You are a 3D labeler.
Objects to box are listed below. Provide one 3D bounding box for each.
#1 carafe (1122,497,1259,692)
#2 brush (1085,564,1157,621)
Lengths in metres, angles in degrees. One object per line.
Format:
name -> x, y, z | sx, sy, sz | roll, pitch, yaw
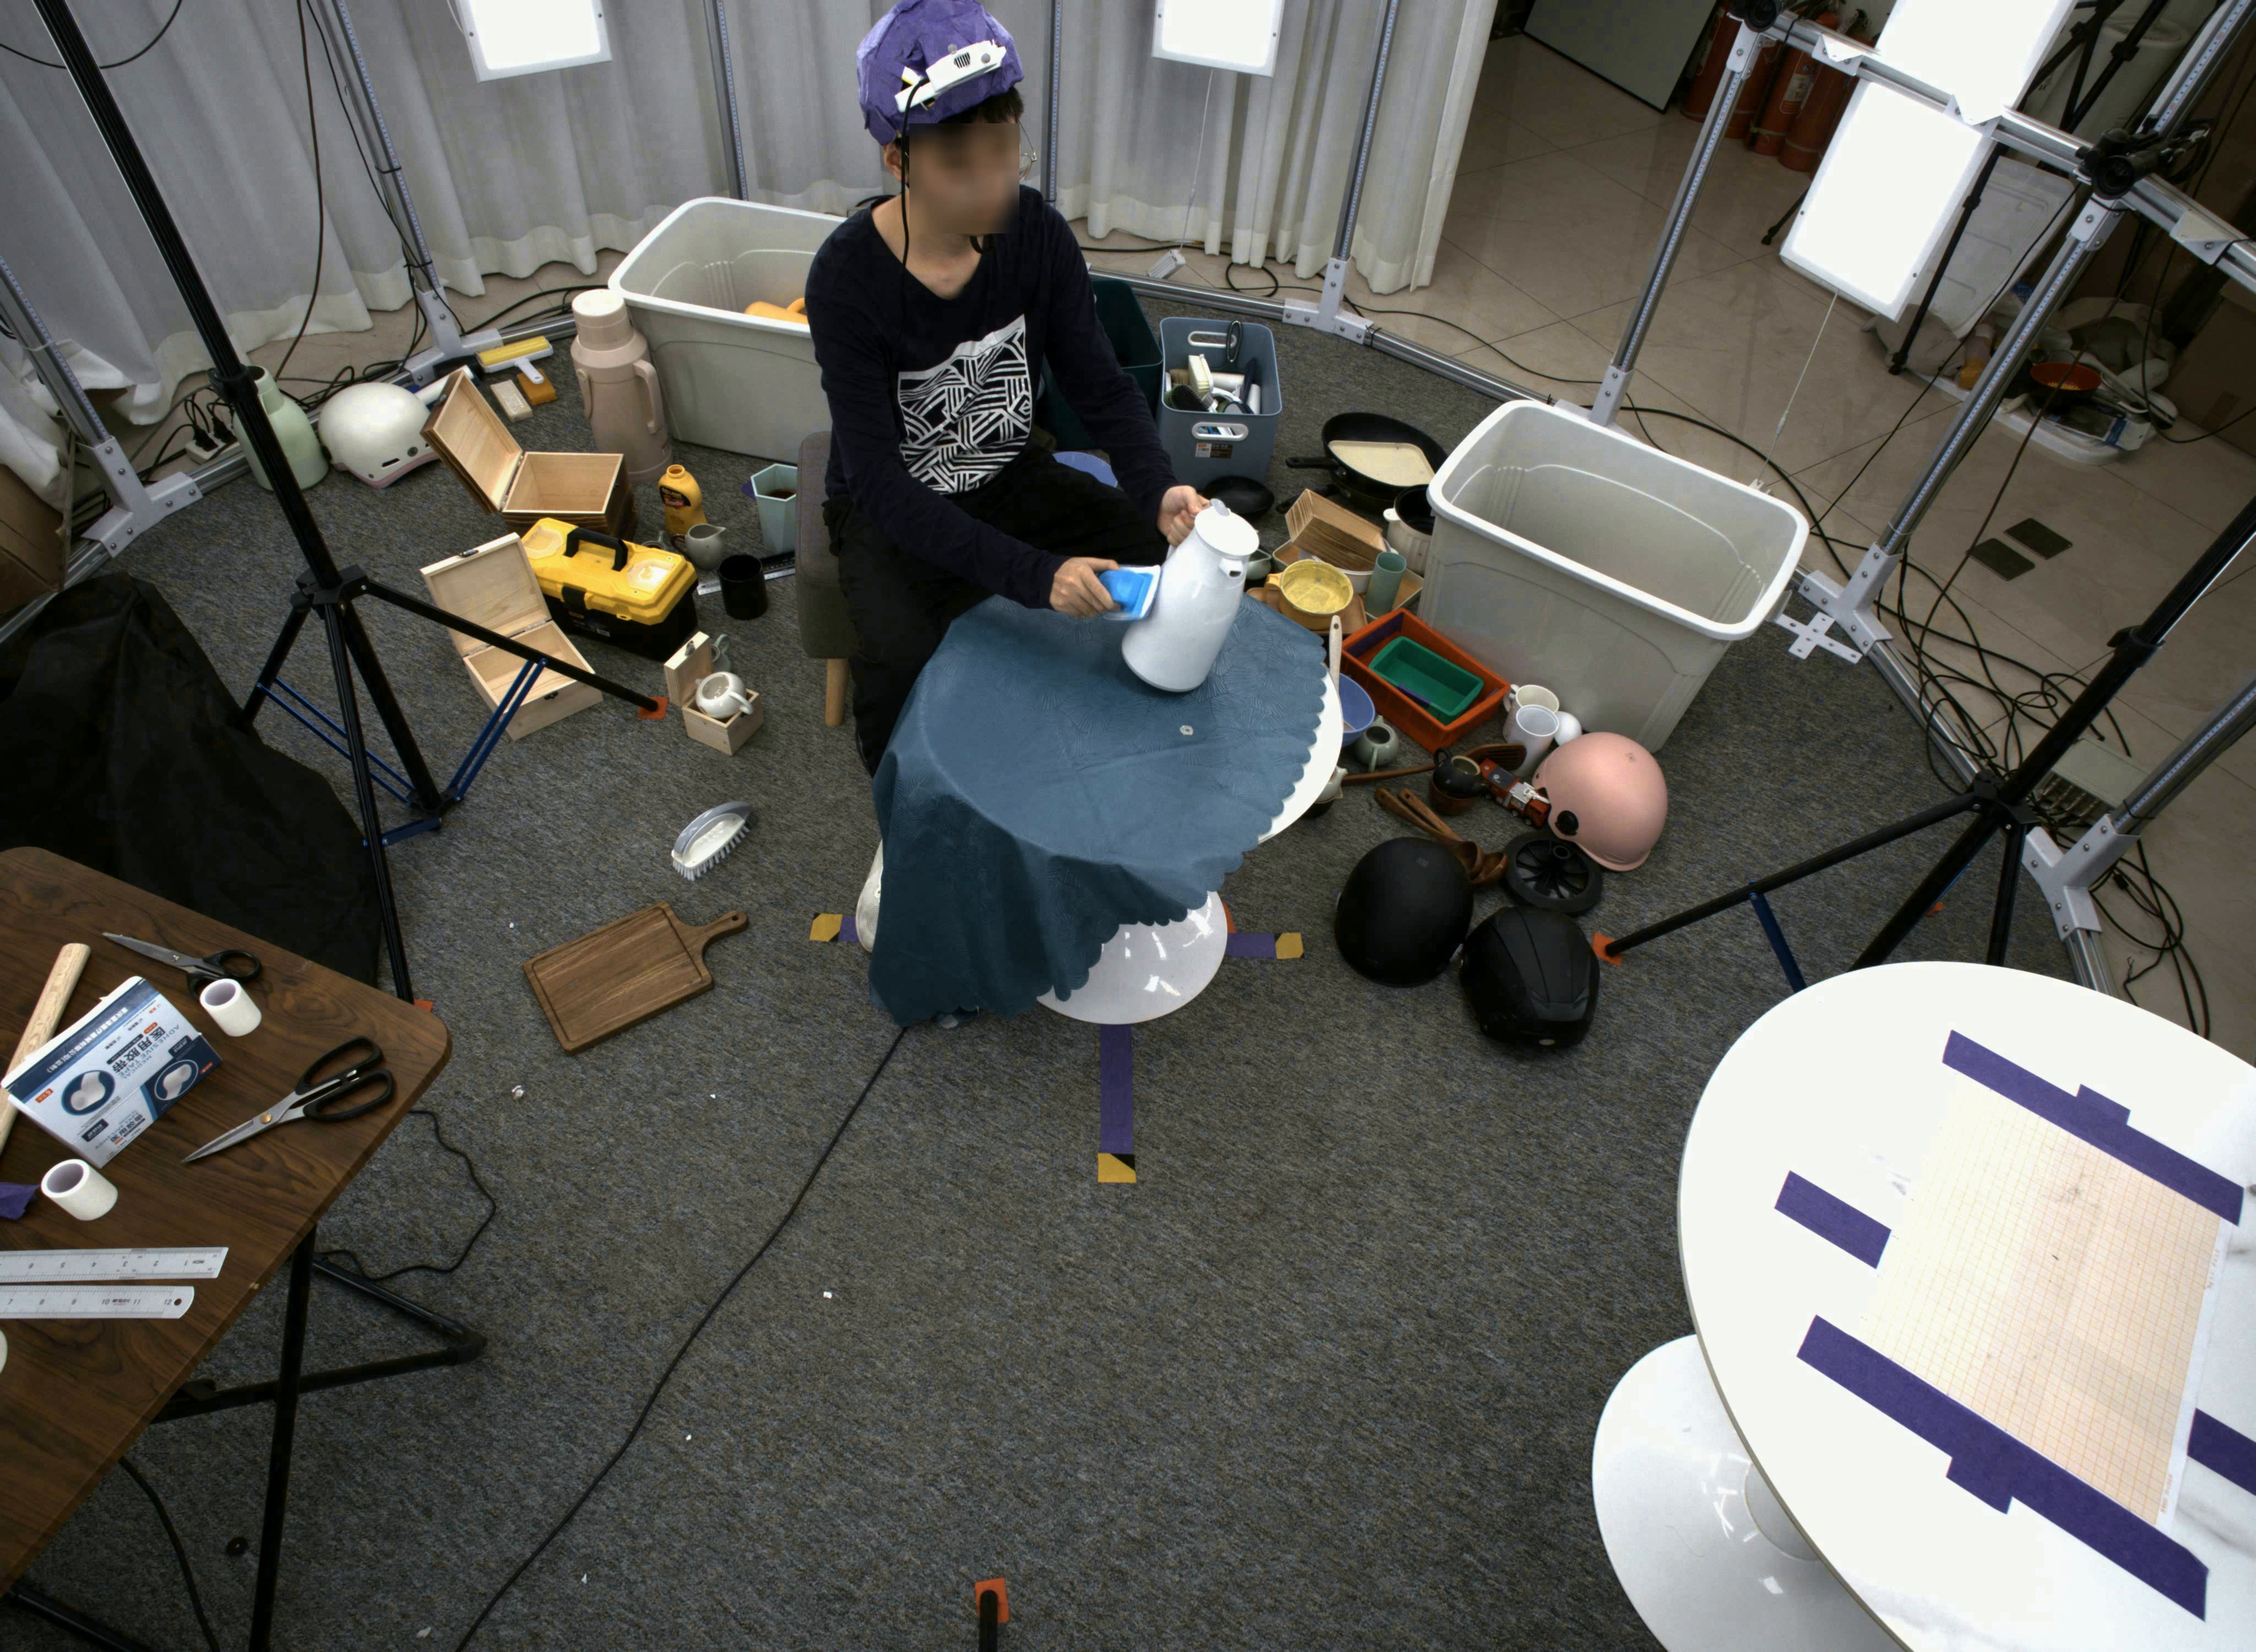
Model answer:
carafe -> 0.087, -0.333, 1.784 | 0.132, 0.243, 0.172 | -1, 50, -25
brush -> -0.017, -0.331, 1.796 | 0.055, 0.084, 0.145 | 25, 0, -28
